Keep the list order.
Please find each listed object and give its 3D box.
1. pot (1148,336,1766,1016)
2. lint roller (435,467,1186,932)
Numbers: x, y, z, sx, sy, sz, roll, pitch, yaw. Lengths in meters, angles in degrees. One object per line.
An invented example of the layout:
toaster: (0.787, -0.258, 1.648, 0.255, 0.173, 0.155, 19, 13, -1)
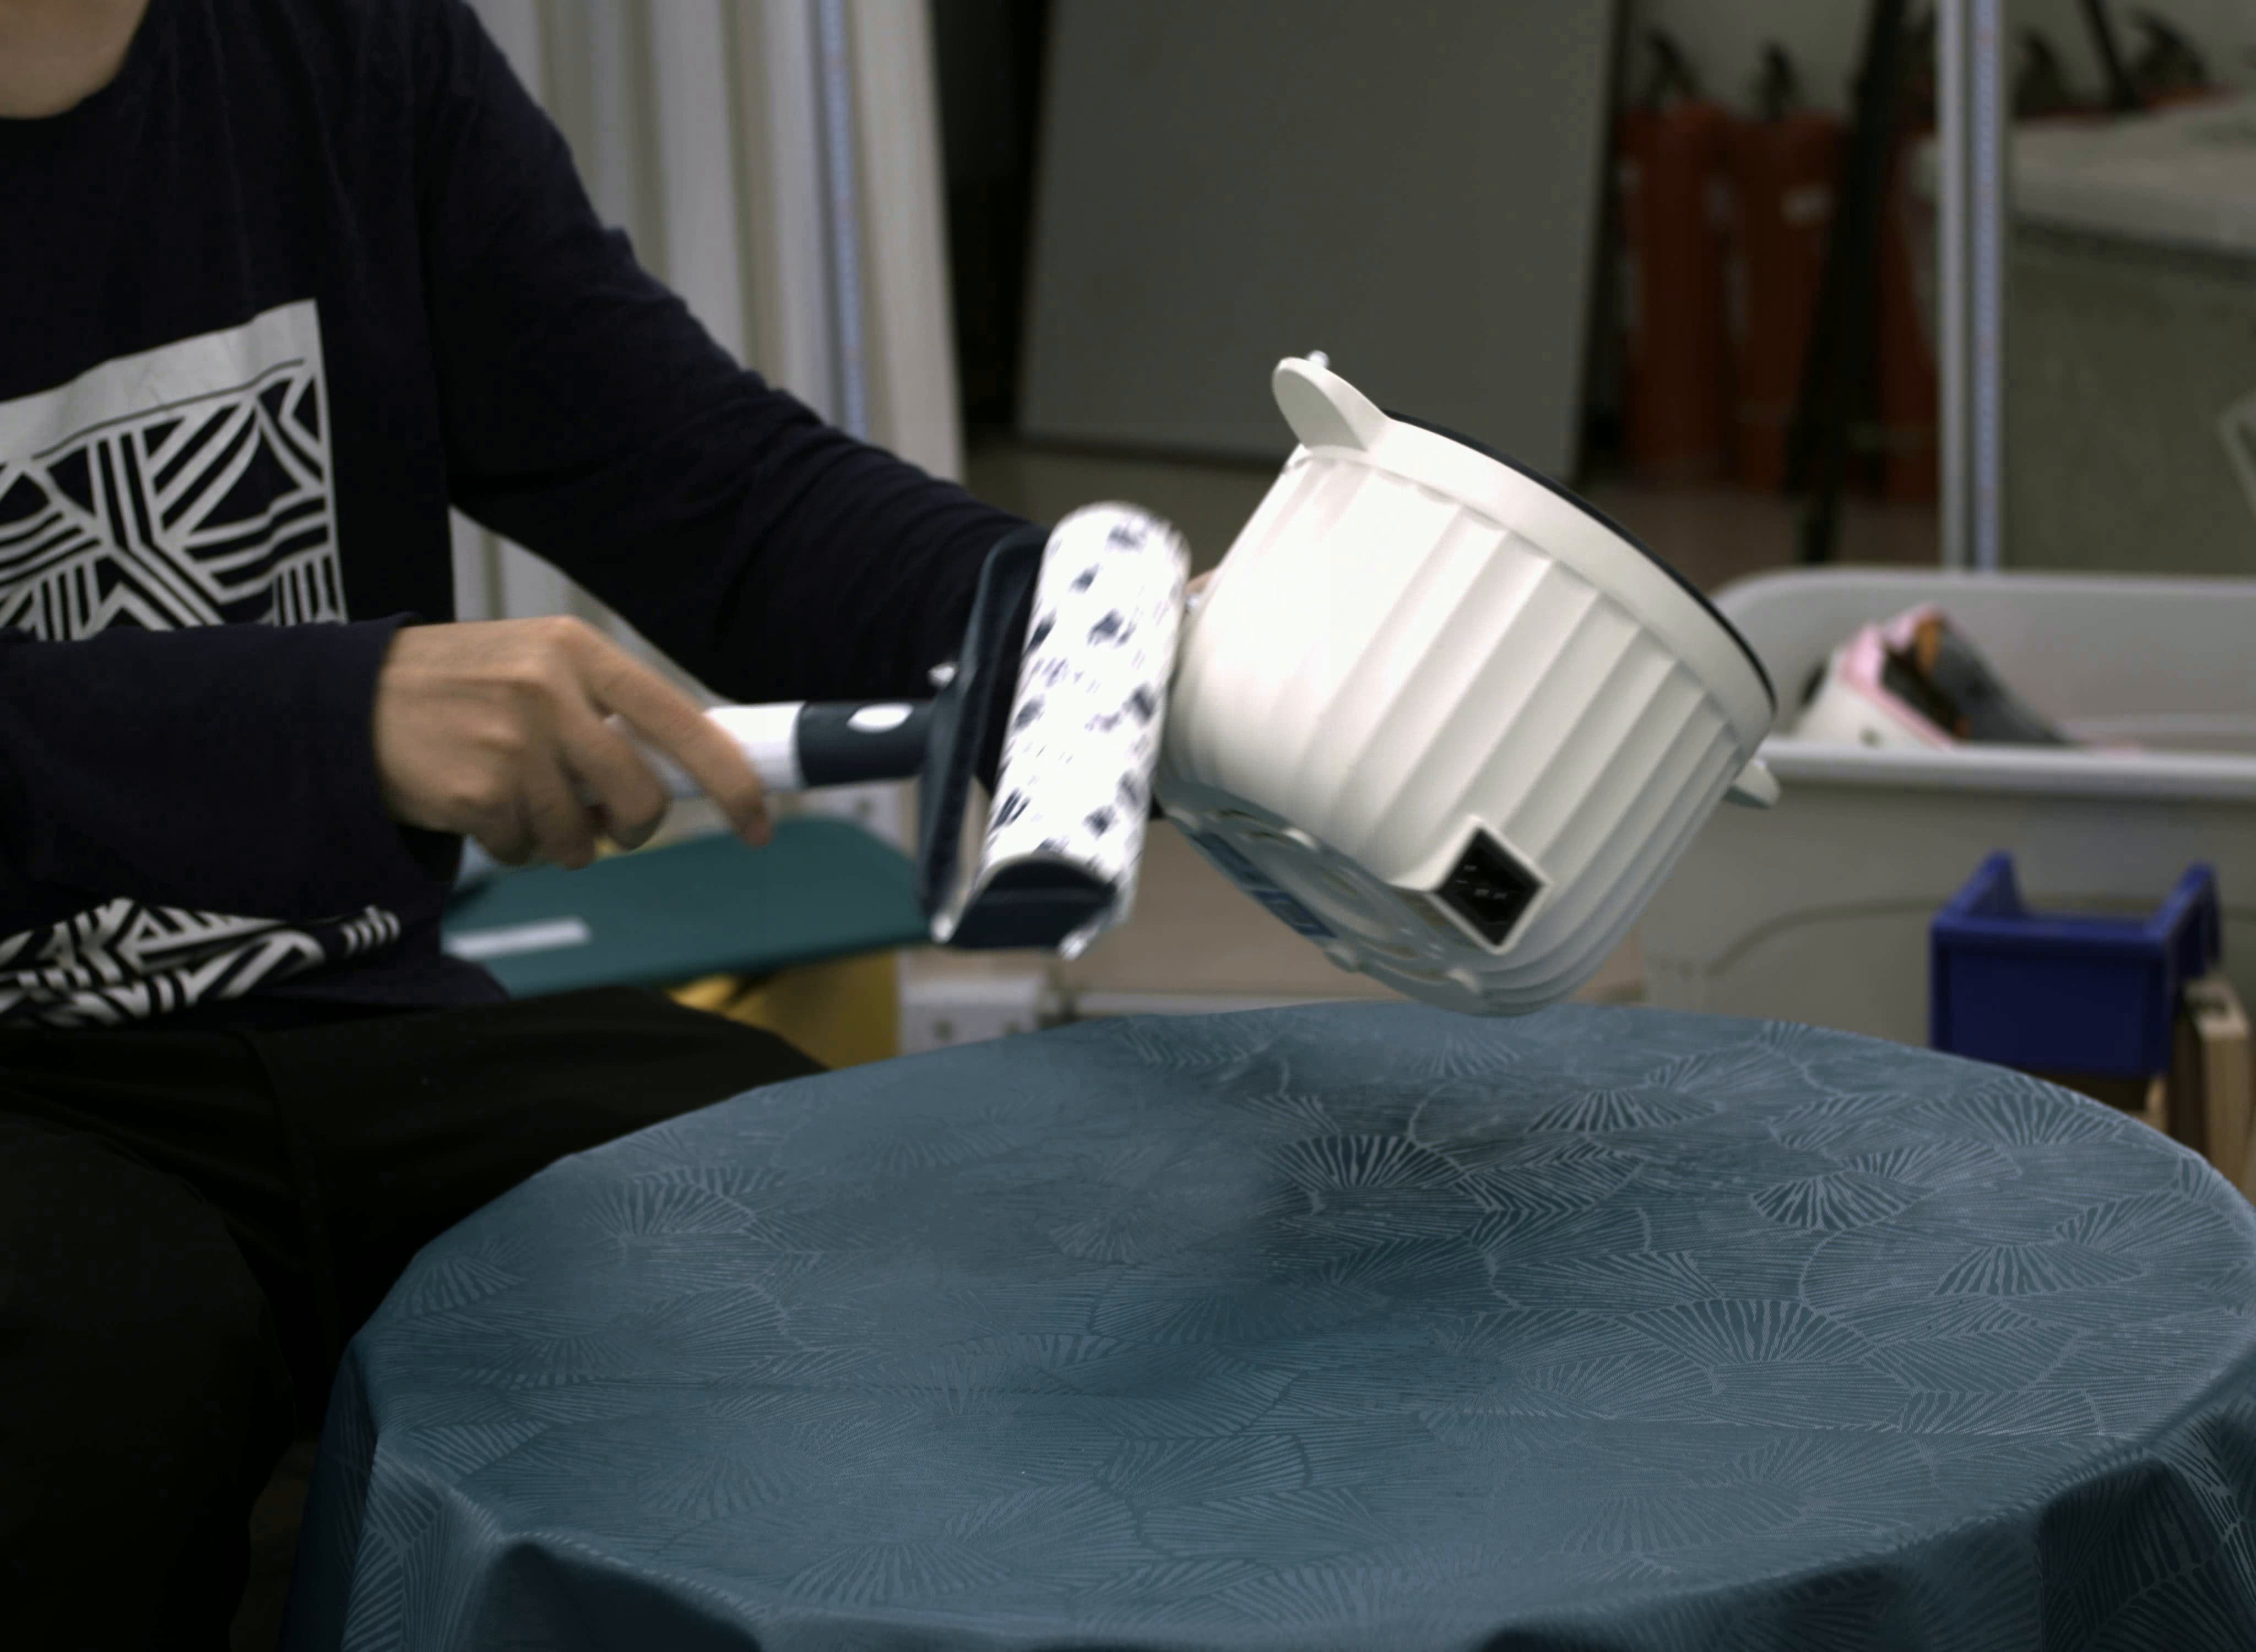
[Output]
pot: (0.092, -0.033, 1.752, 0.142, 0.238, 0.192, -51, 24, -11)
lint roller: (-0.107, -0.029, 1.706, 0.246, 0.050, 0.177, -7, 44, 15)
